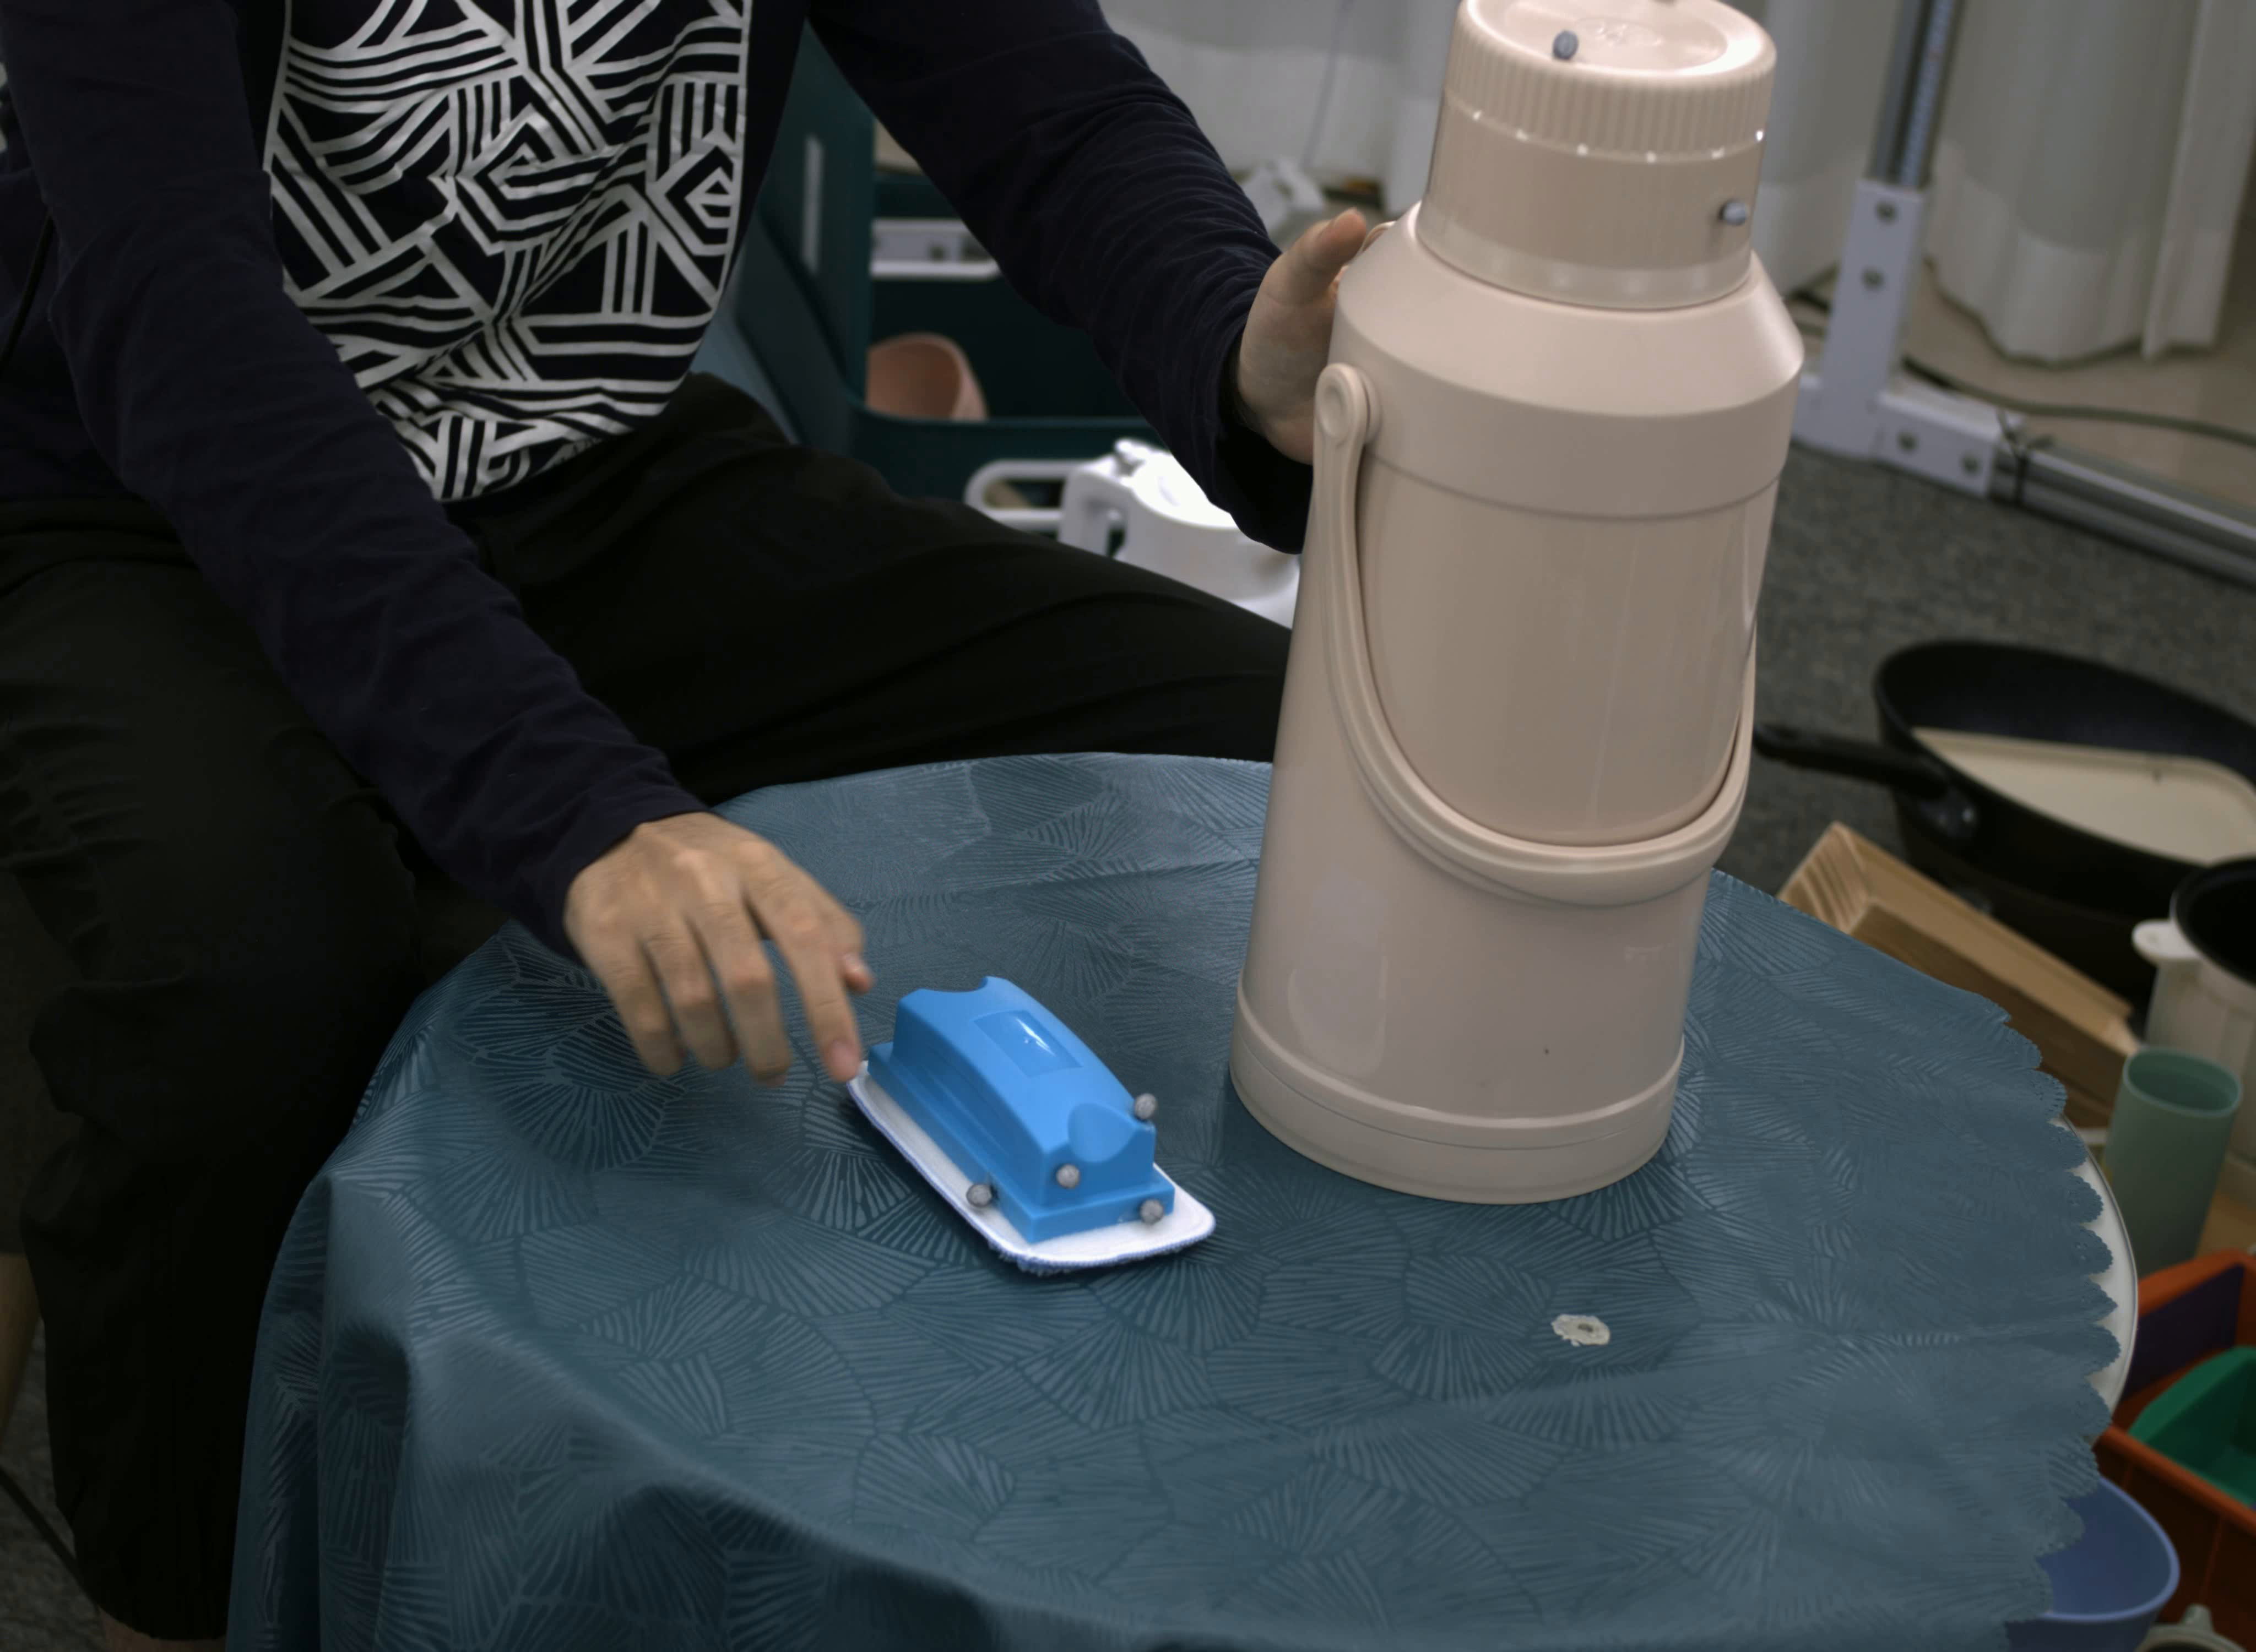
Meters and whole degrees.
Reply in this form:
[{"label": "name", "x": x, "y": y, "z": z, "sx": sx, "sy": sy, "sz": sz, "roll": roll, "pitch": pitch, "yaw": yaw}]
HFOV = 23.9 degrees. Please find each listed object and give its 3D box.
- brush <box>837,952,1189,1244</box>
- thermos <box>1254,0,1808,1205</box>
[{"label": "brush", "x": -0.037, "y": 0.087, "z": 1.802, "sx": 0.083, "sy": 0.056, "sz": 0.145, "roll": -5, "pitch": 32, "yaw": -27}, {"label": "thermos", "x": 0.134, "y": -0.088, "z": 1.815, "sx": 0.174, "sy": 0.405, "sz": 0.209, "roll": -9, "pitch": 30, "yaw": -26}]
